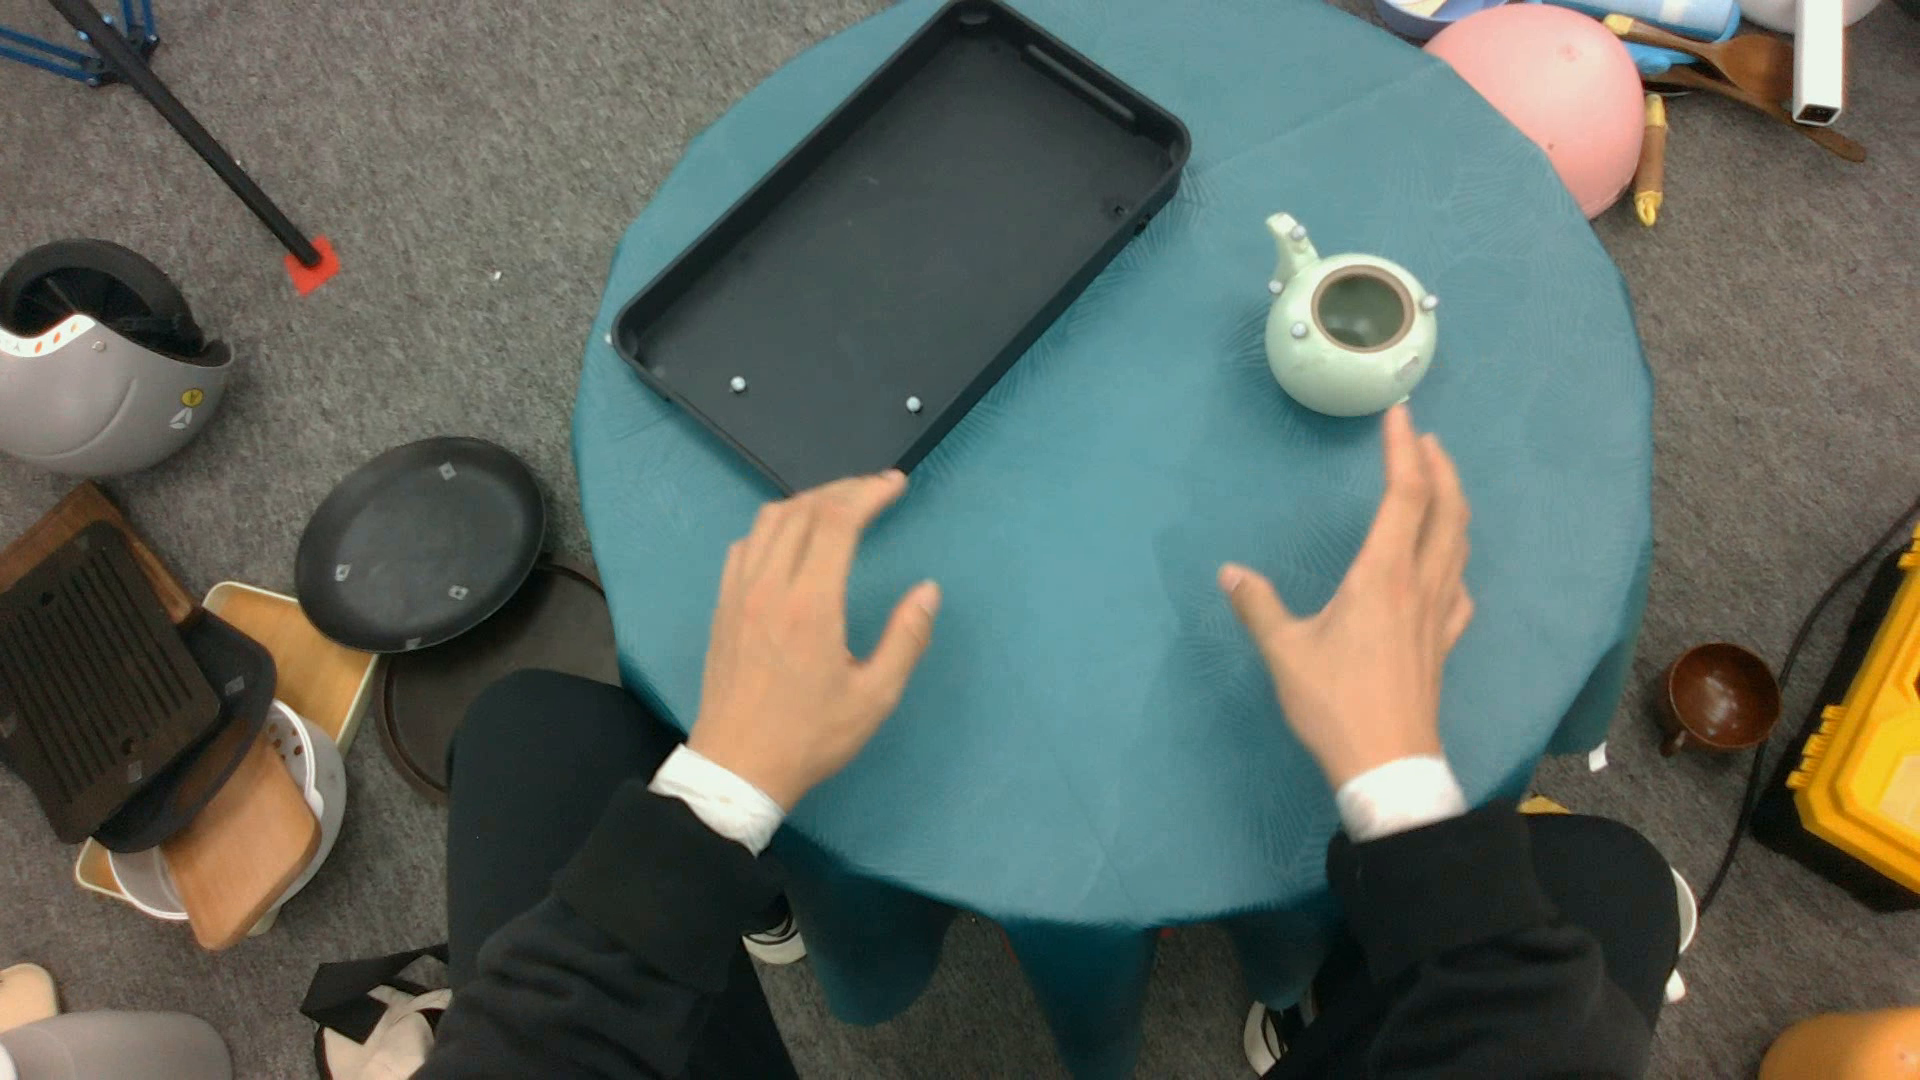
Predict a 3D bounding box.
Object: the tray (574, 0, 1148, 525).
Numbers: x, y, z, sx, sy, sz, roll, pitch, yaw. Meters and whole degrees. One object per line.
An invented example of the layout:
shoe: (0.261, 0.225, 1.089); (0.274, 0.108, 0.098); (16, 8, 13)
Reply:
tray: (-0.052, -0.172, 0.790); (0.184, 0.037, 0.319); (36, 74, 13)

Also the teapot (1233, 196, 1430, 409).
teapot: (0.193, -0.120, 0.743); (0.088, 0.074, 0.144); (-35, 70, -10)
